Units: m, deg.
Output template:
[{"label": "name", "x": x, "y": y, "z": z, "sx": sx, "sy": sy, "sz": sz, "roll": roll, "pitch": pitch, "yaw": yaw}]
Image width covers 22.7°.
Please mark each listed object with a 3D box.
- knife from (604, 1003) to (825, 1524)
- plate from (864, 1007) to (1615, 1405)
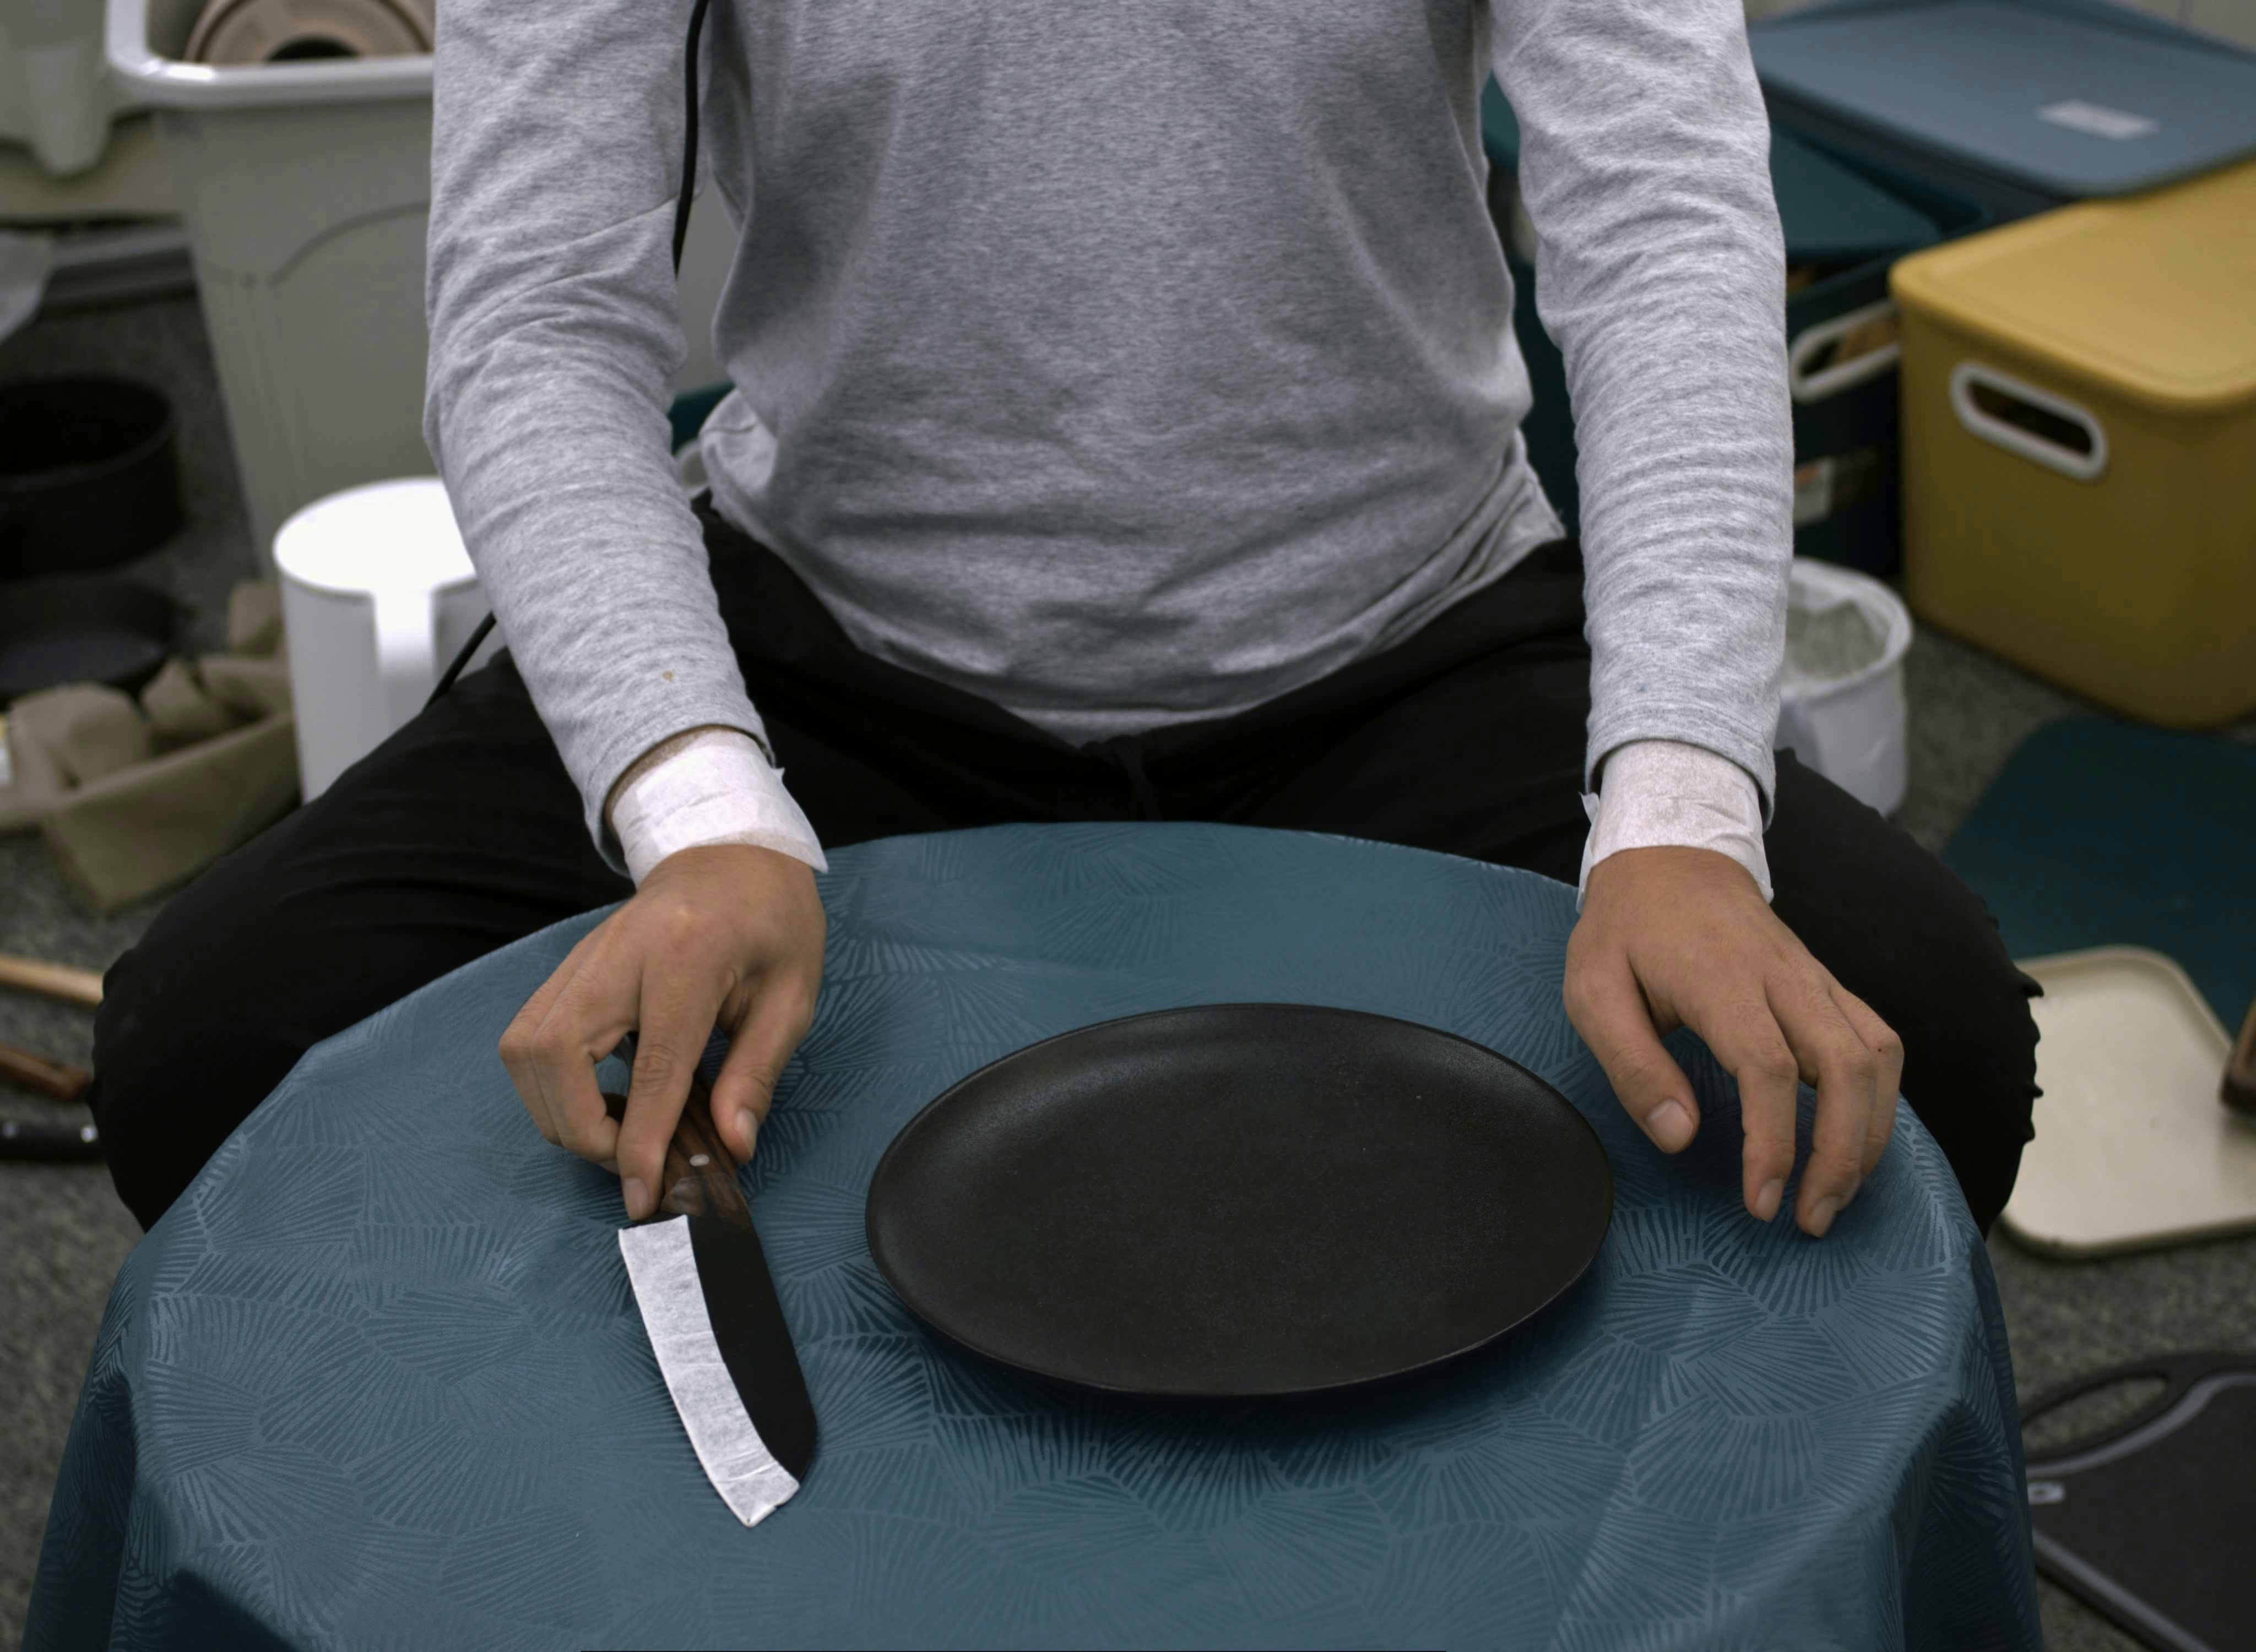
[{"label": "knife", "x": -0.139, "y": 0.140, "z": 1.820, "sx": 0.050, "sy": 0.020, "sz": 0.293, "roll": -11, "pitch": 31, "yaw": -7}, {"label": "plate", "x": 0.036, "y": 0.127, "z": 1.823, "sx": 0.243, "sy": 0.023, "sz": 0.248, "roll": -2, "pitch": 27, "yaw": 1}]
